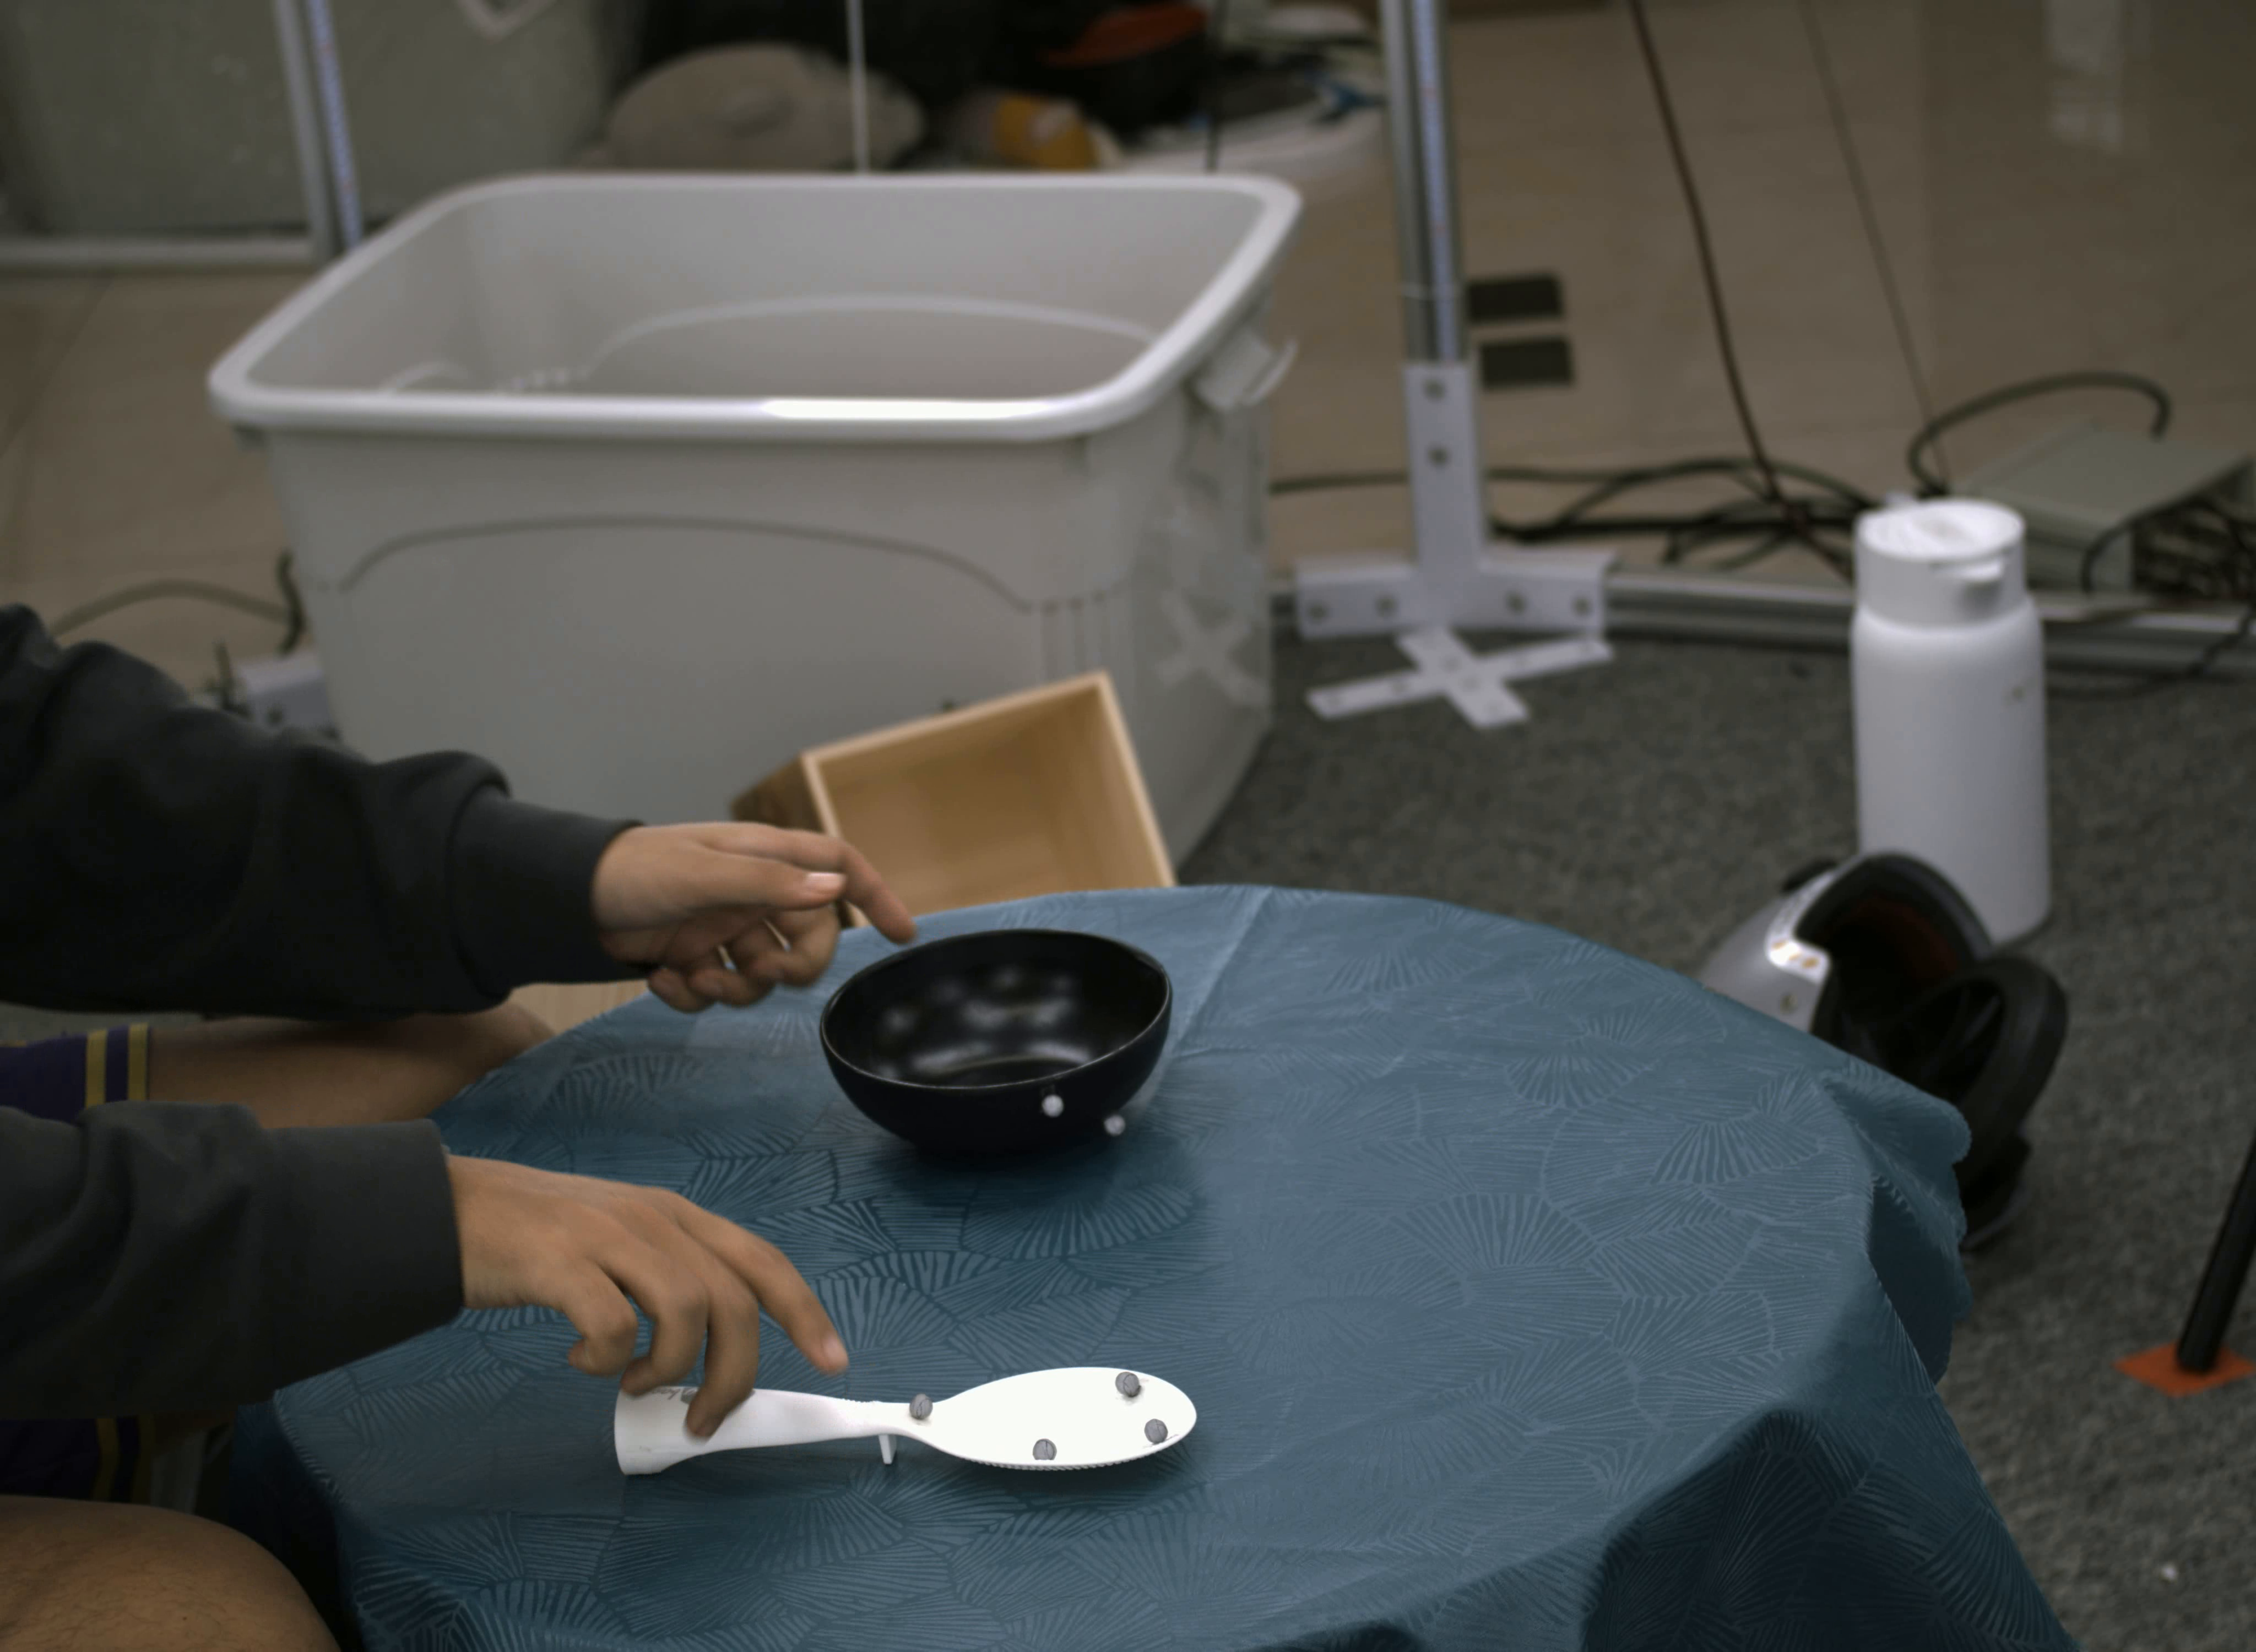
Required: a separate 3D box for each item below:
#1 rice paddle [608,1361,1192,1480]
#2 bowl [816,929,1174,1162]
[{"bbox_3d":[-0.079,0.207,1.985,0.205,0.030,0.068,-4,24,8],"label":"rice paddle"},{"bbox_3d":[-0.050,0.092,2.203,0.140,0.050,0.138,-6,26,3],"label":"bowl"}]
